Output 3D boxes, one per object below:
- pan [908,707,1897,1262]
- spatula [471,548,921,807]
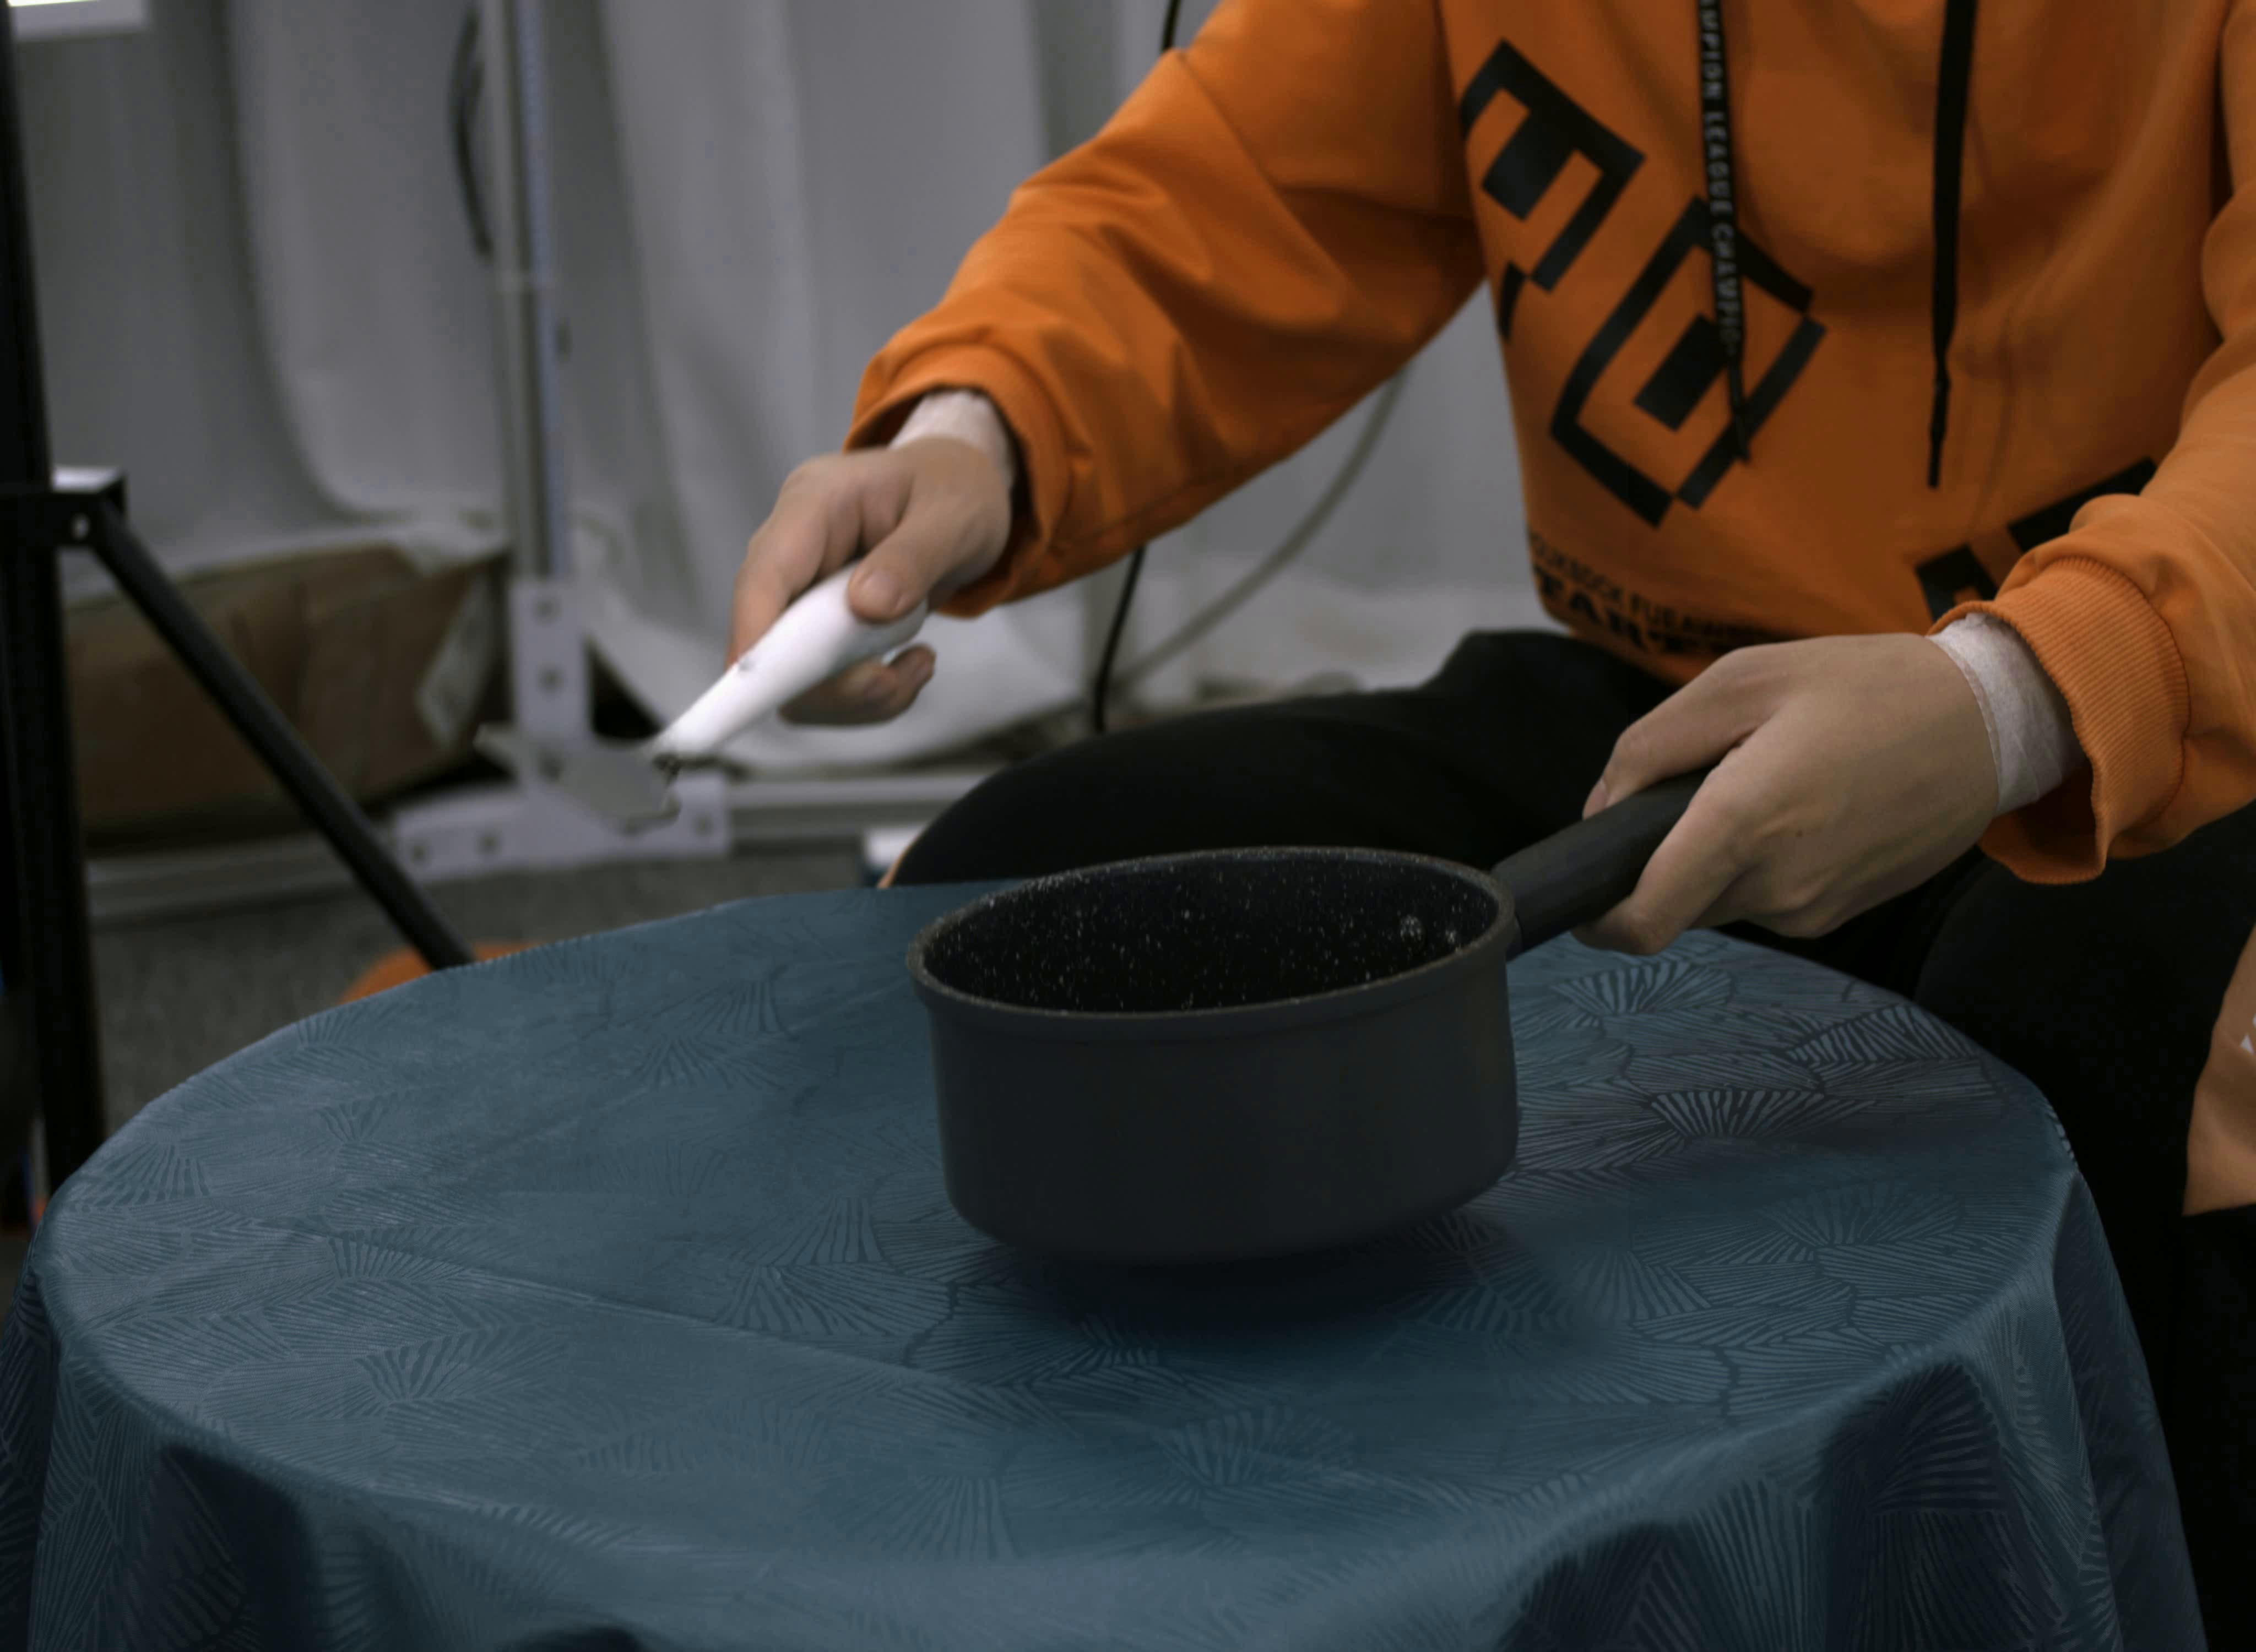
[{"bbox_3d":[0.091,0.043,1.527,0.322,0.086,0.176,-16,18,-30],"label":"pan"},{"bbox_3d":[-0.125,-0.043,1.630,0.059,0.032,0.284,34,21,7],"label":"spatula"}]
